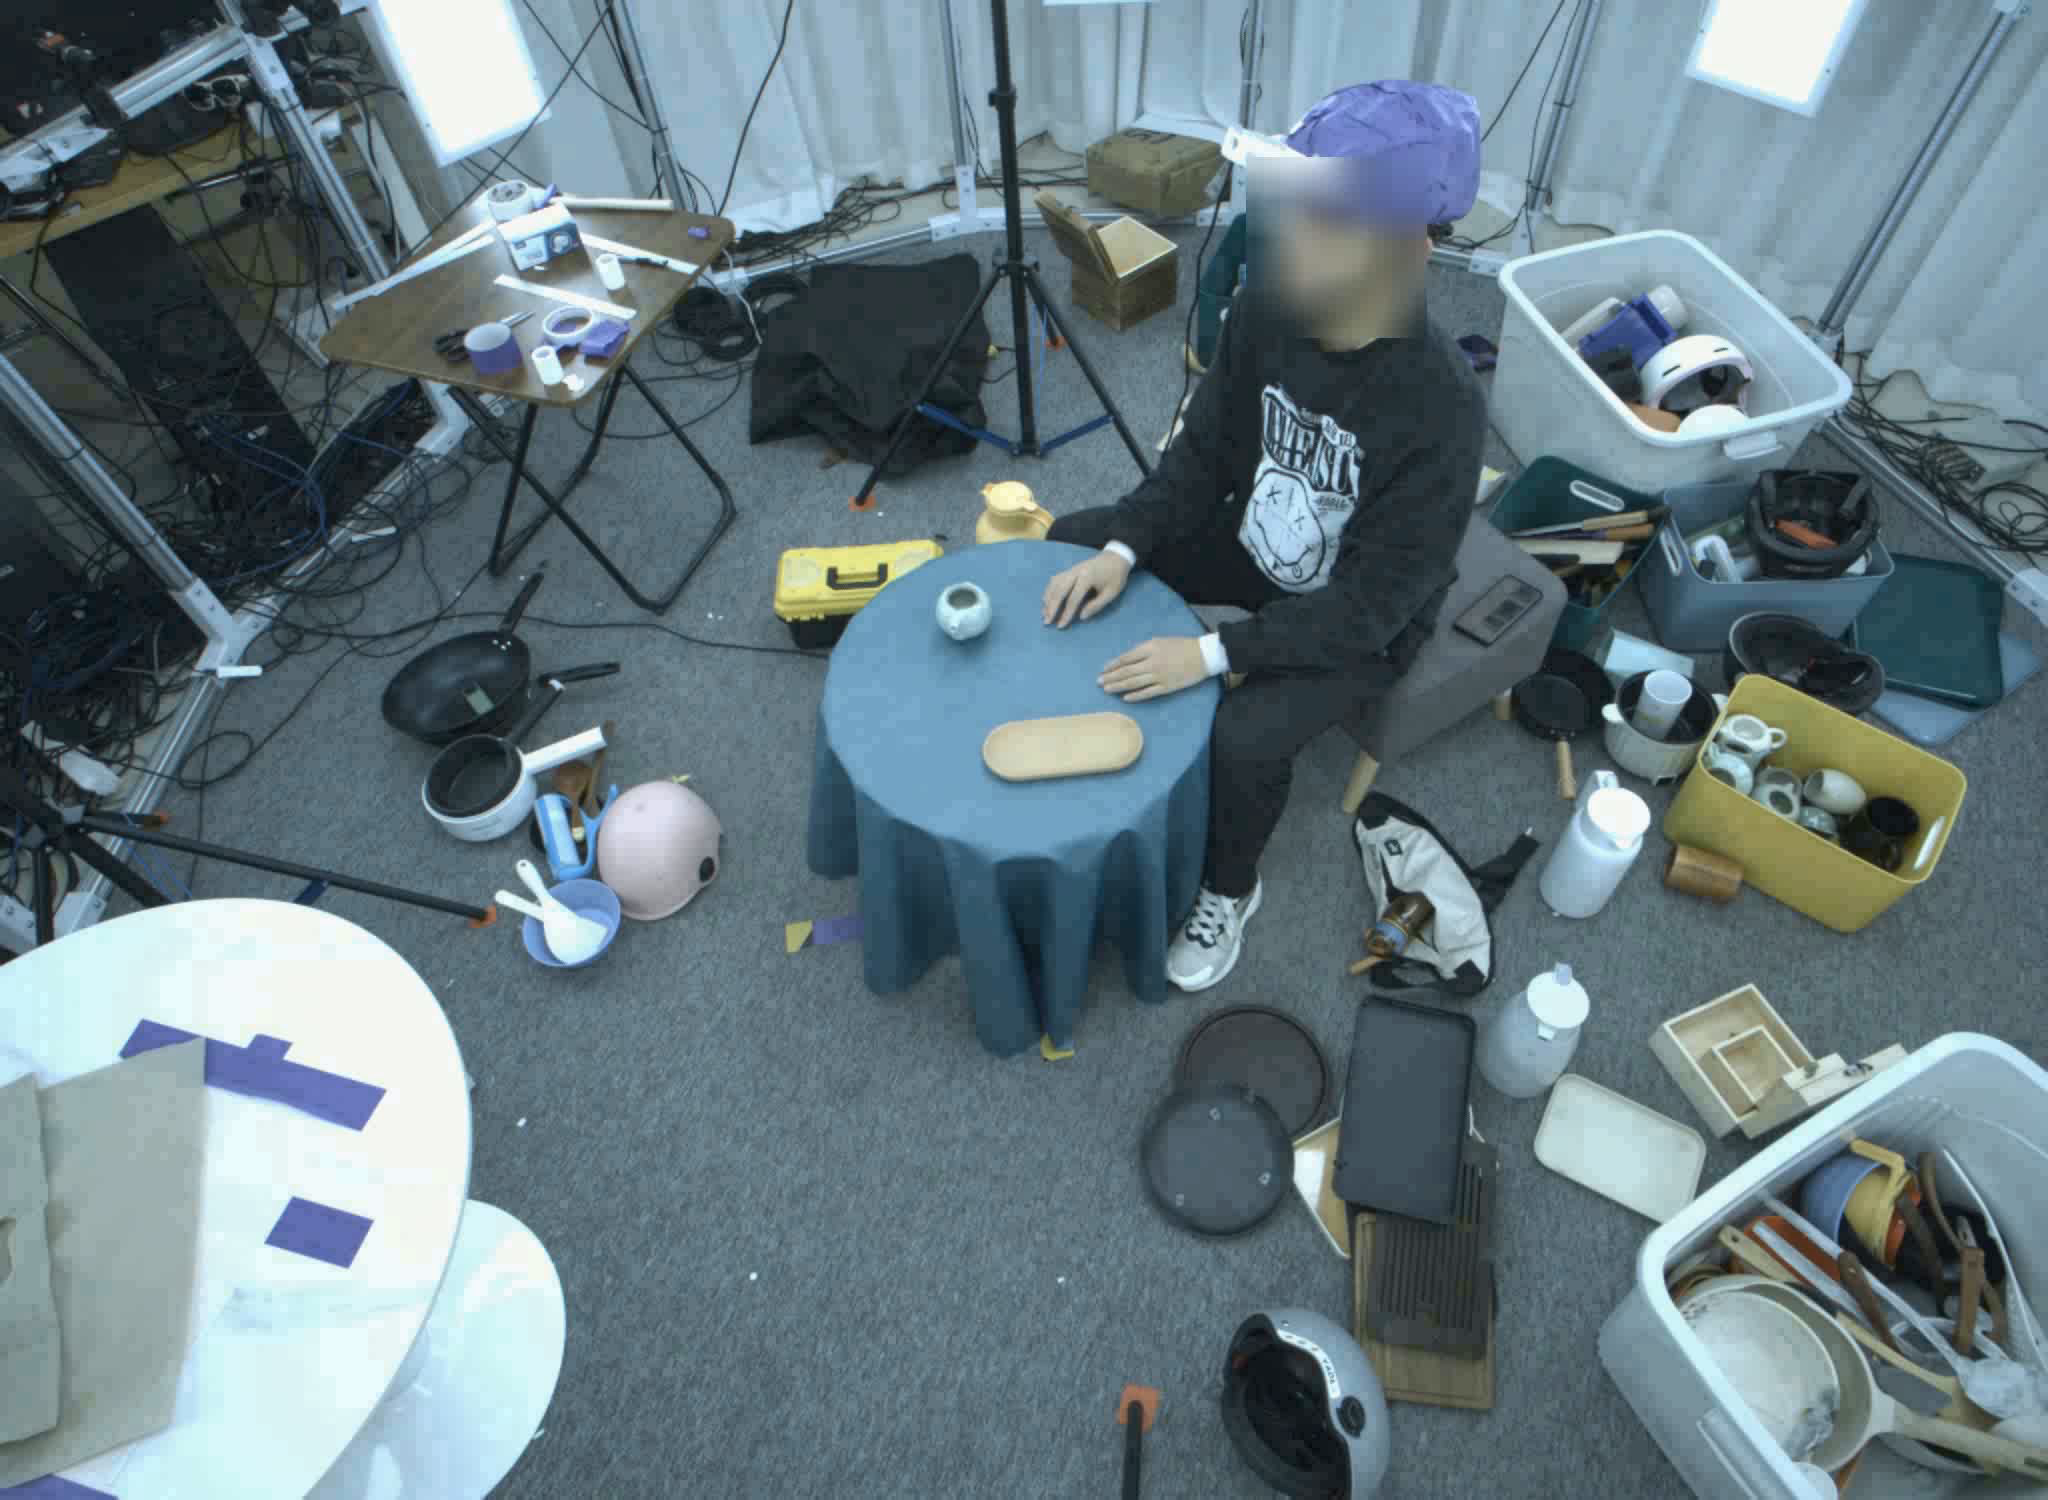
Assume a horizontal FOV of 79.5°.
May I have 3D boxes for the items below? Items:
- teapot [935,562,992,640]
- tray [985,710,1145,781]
[{"bbox_3d":[-0.094,-0.217,1.896,0.088,0.075,0.143,8,57,8],"label":"teapot"},{"bbox_3d":[0.059,-0.006,1.776,0.232,0.020,0.100,-6,56,-4],"label":"tray"}]
